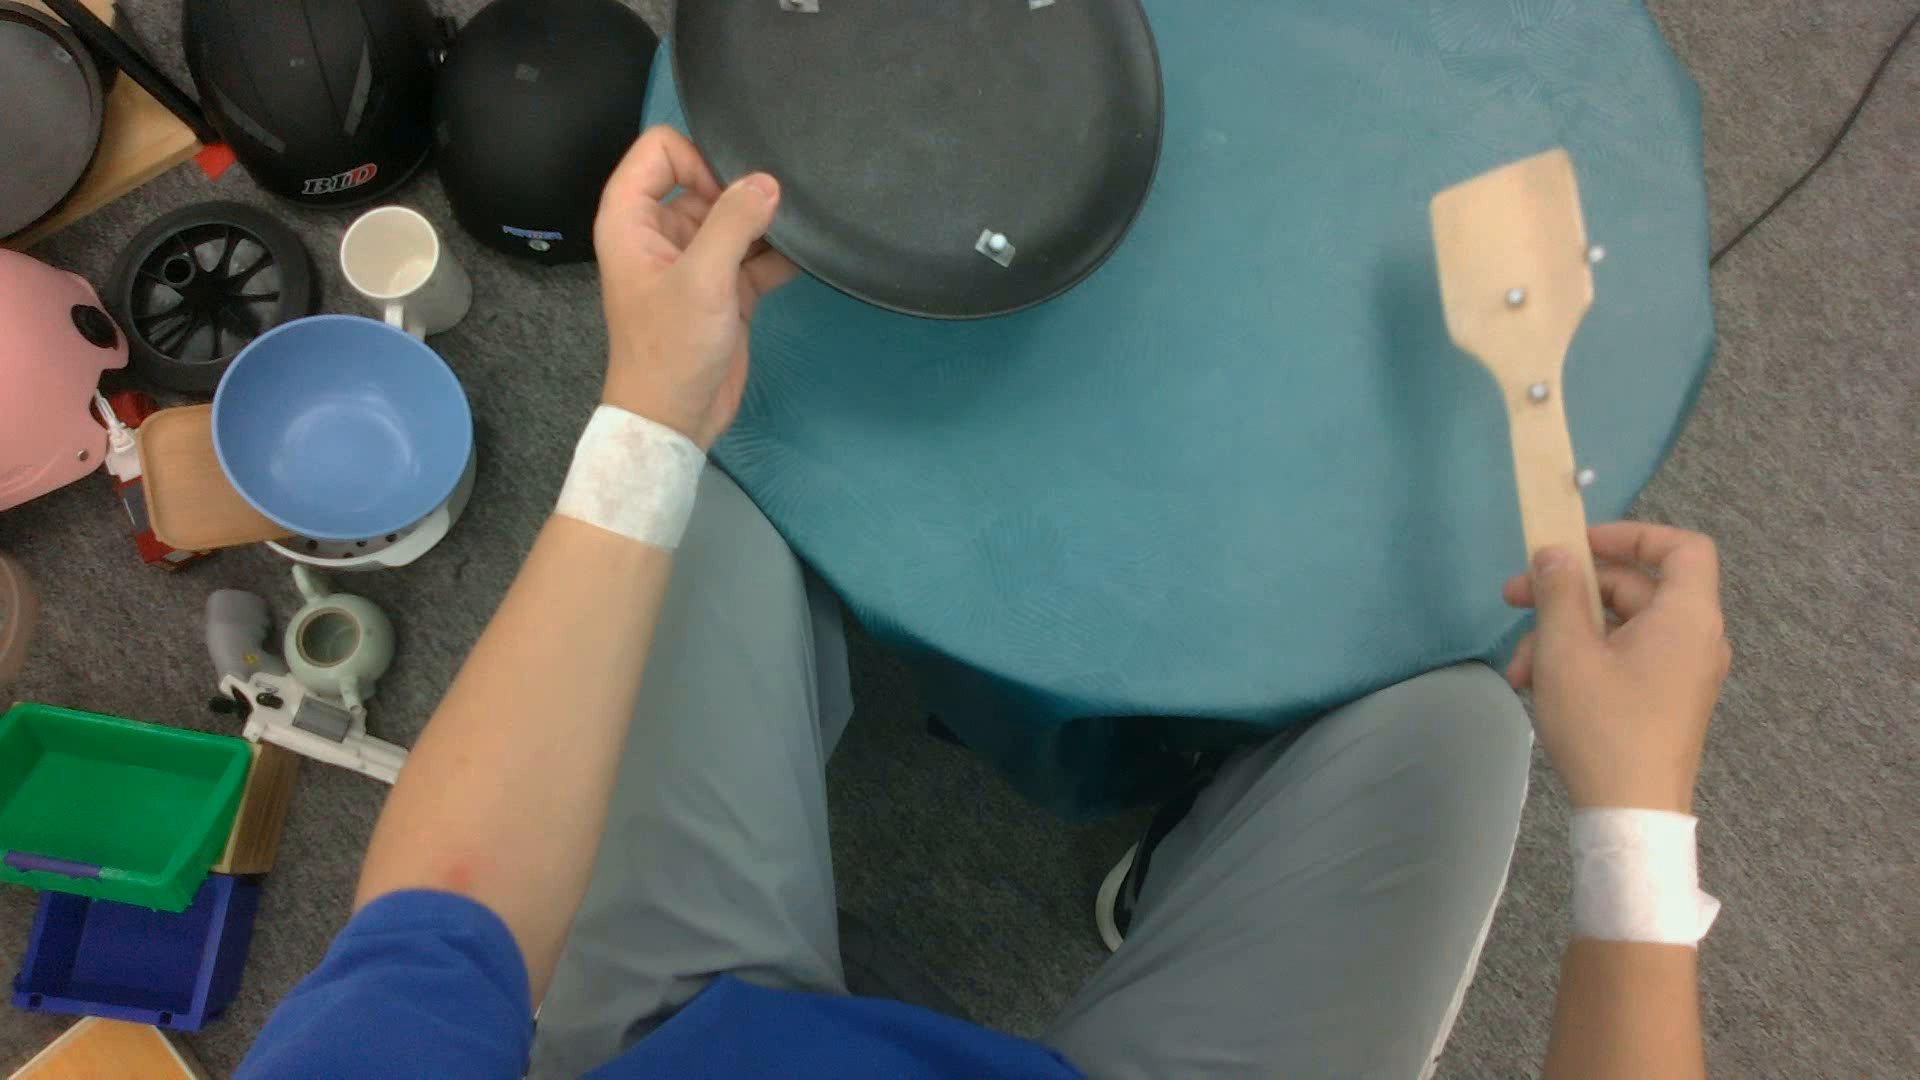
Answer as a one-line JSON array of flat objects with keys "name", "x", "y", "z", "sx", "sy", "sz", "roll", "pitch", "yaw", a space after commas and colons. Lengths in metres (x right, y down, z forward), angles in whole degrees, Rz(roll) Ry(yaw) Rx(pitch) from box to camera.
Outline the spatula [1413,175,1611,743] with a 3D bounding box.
[{"name": "spatula", "x": 0.277, "y": -0.045, "z": 0.673, "sx": 0.072, "sy": 0.010, "sz": 0.294, "roll": -19, "pitch": 62, "yaw": 36}]

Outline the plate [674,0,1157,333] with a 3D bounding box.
[{"name": "plate", "x": -0.017, "y": -0.217, "z": 0.671, "sx": 0.245, "sy": 0.023, "sz": 0.244, "roll": 3, "pitch": 80, "yaw": -20}]
